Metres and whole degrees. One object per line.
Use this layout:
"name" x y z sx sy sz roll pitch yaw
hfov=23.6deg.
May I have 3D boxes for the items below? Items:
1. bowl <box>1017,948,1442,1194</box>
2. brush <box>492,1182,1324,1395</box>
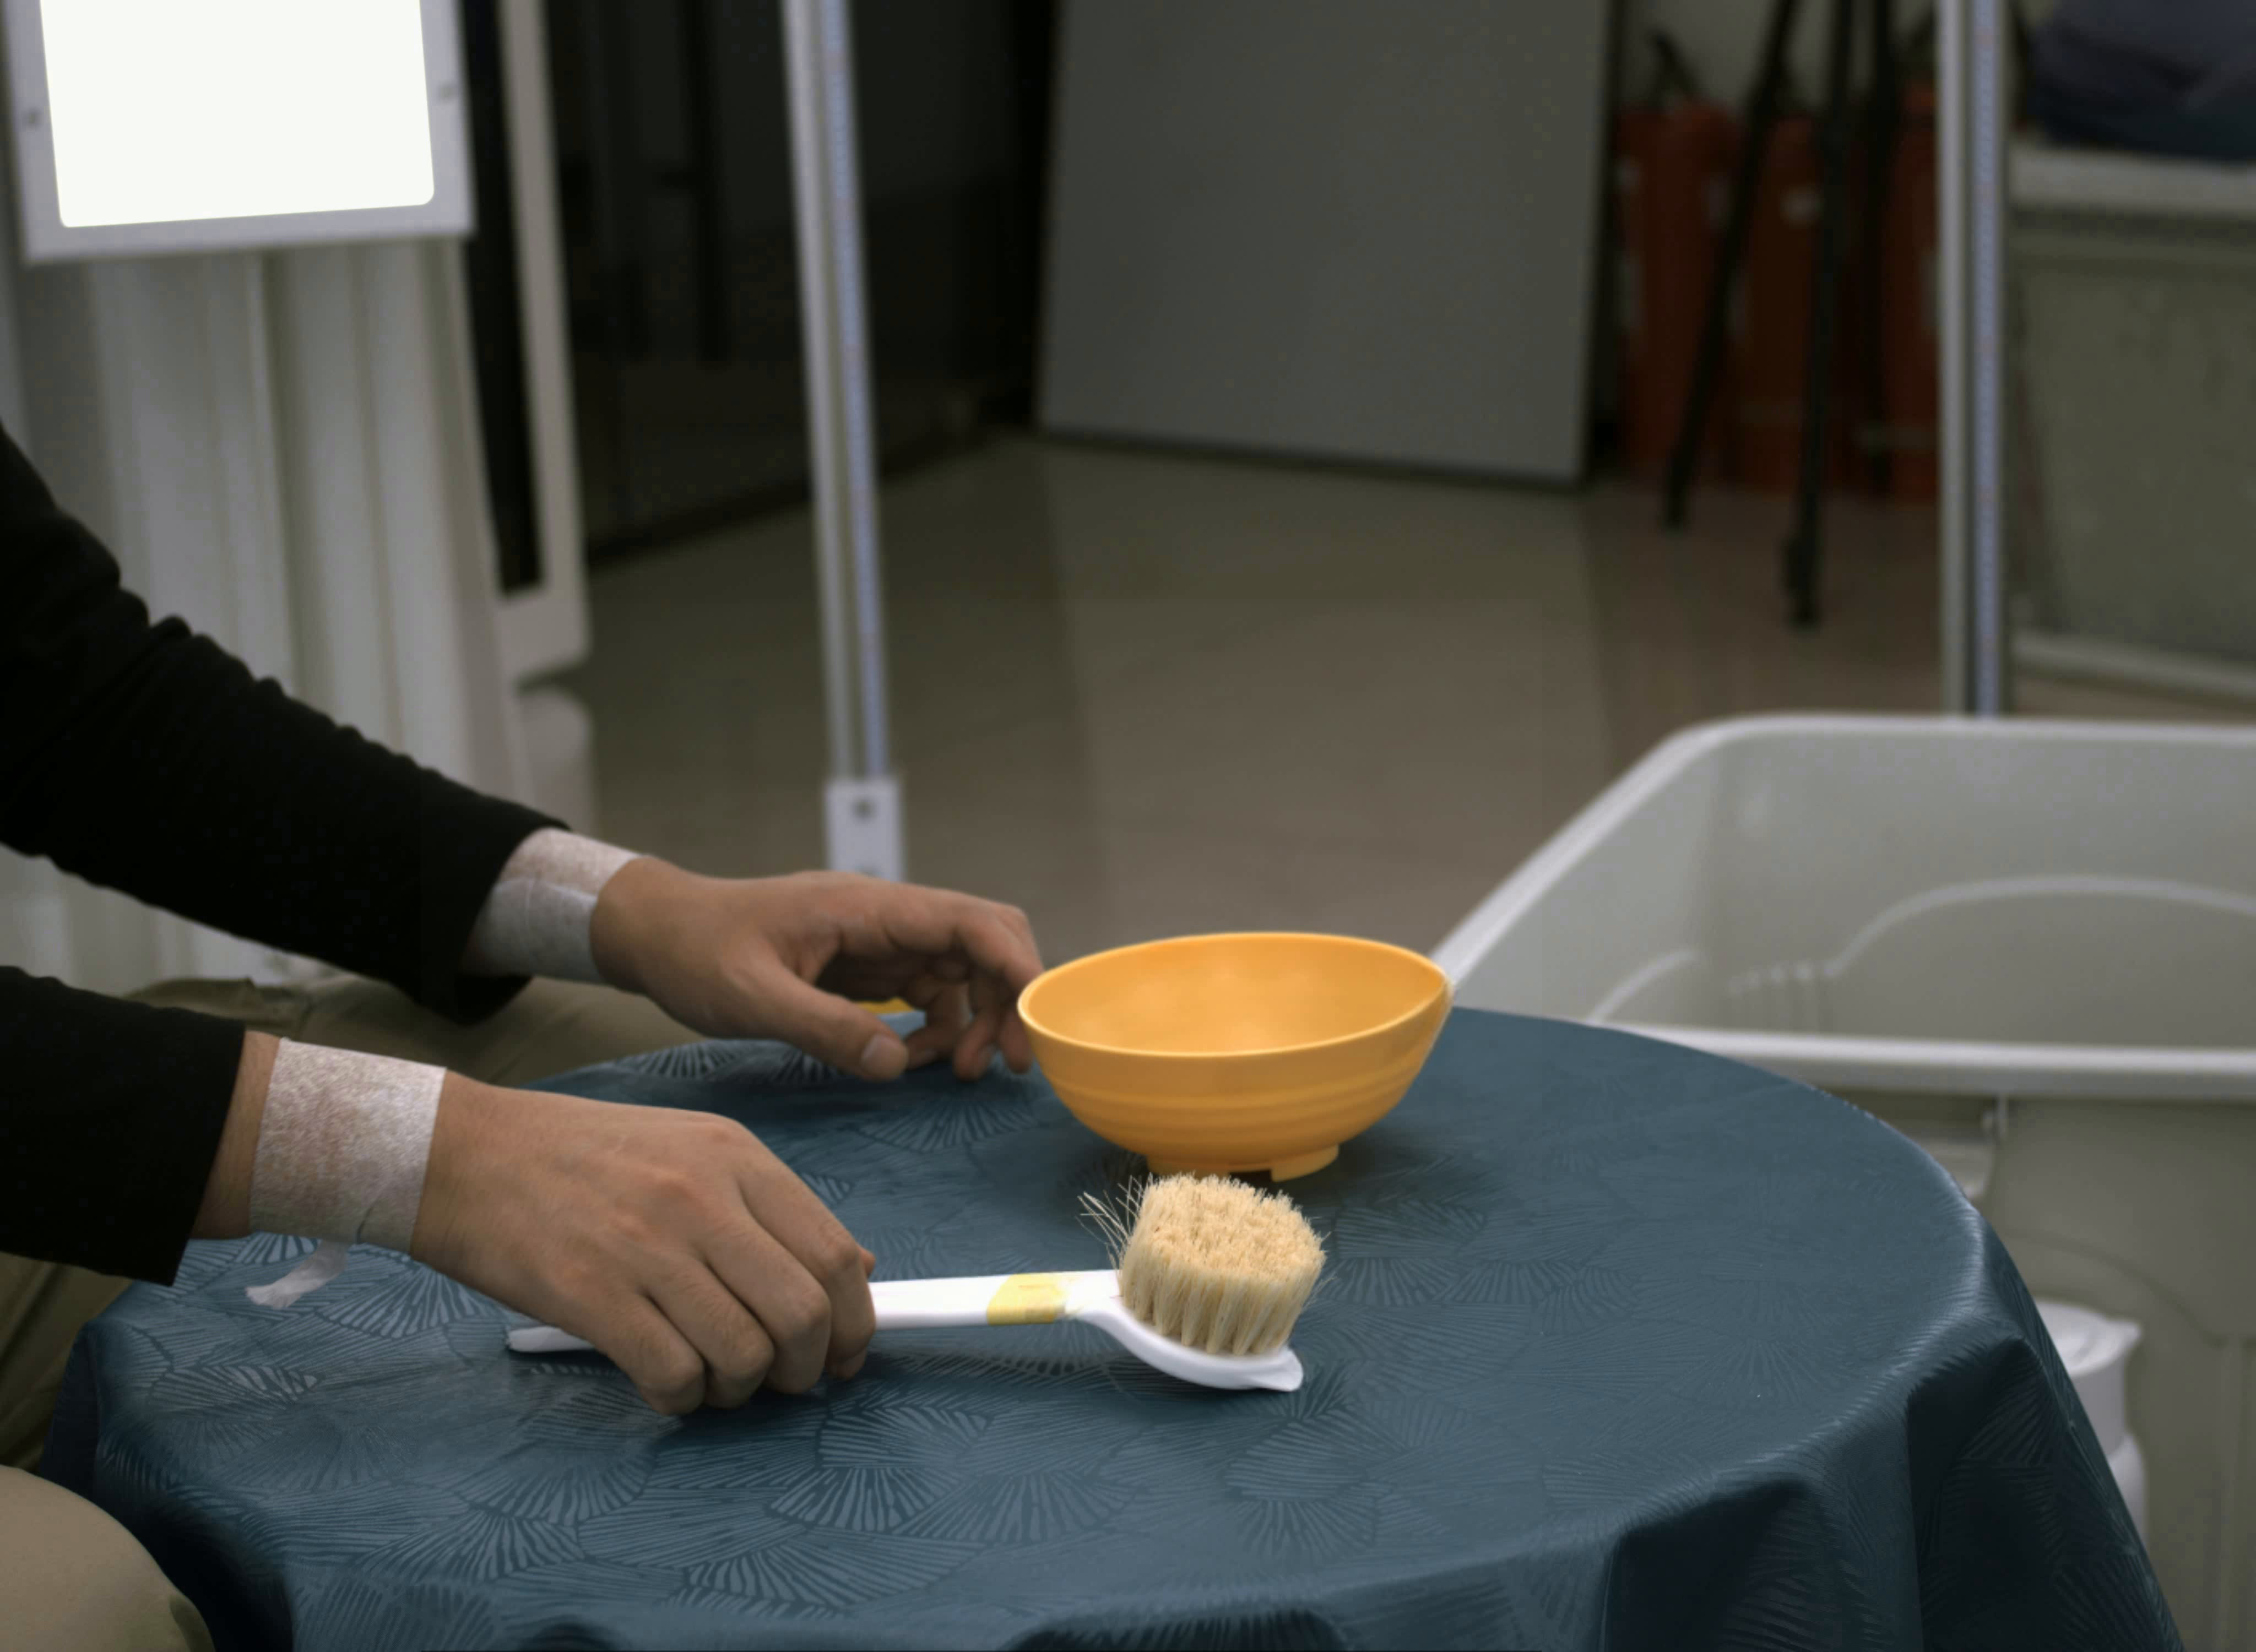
"bowl" 0.036 0.085 1.789 0.143 0.061 0.145 -6 12 0
"brush" -0.070 0.137 1.615 0.266 0.057 0.068 0 10 19
